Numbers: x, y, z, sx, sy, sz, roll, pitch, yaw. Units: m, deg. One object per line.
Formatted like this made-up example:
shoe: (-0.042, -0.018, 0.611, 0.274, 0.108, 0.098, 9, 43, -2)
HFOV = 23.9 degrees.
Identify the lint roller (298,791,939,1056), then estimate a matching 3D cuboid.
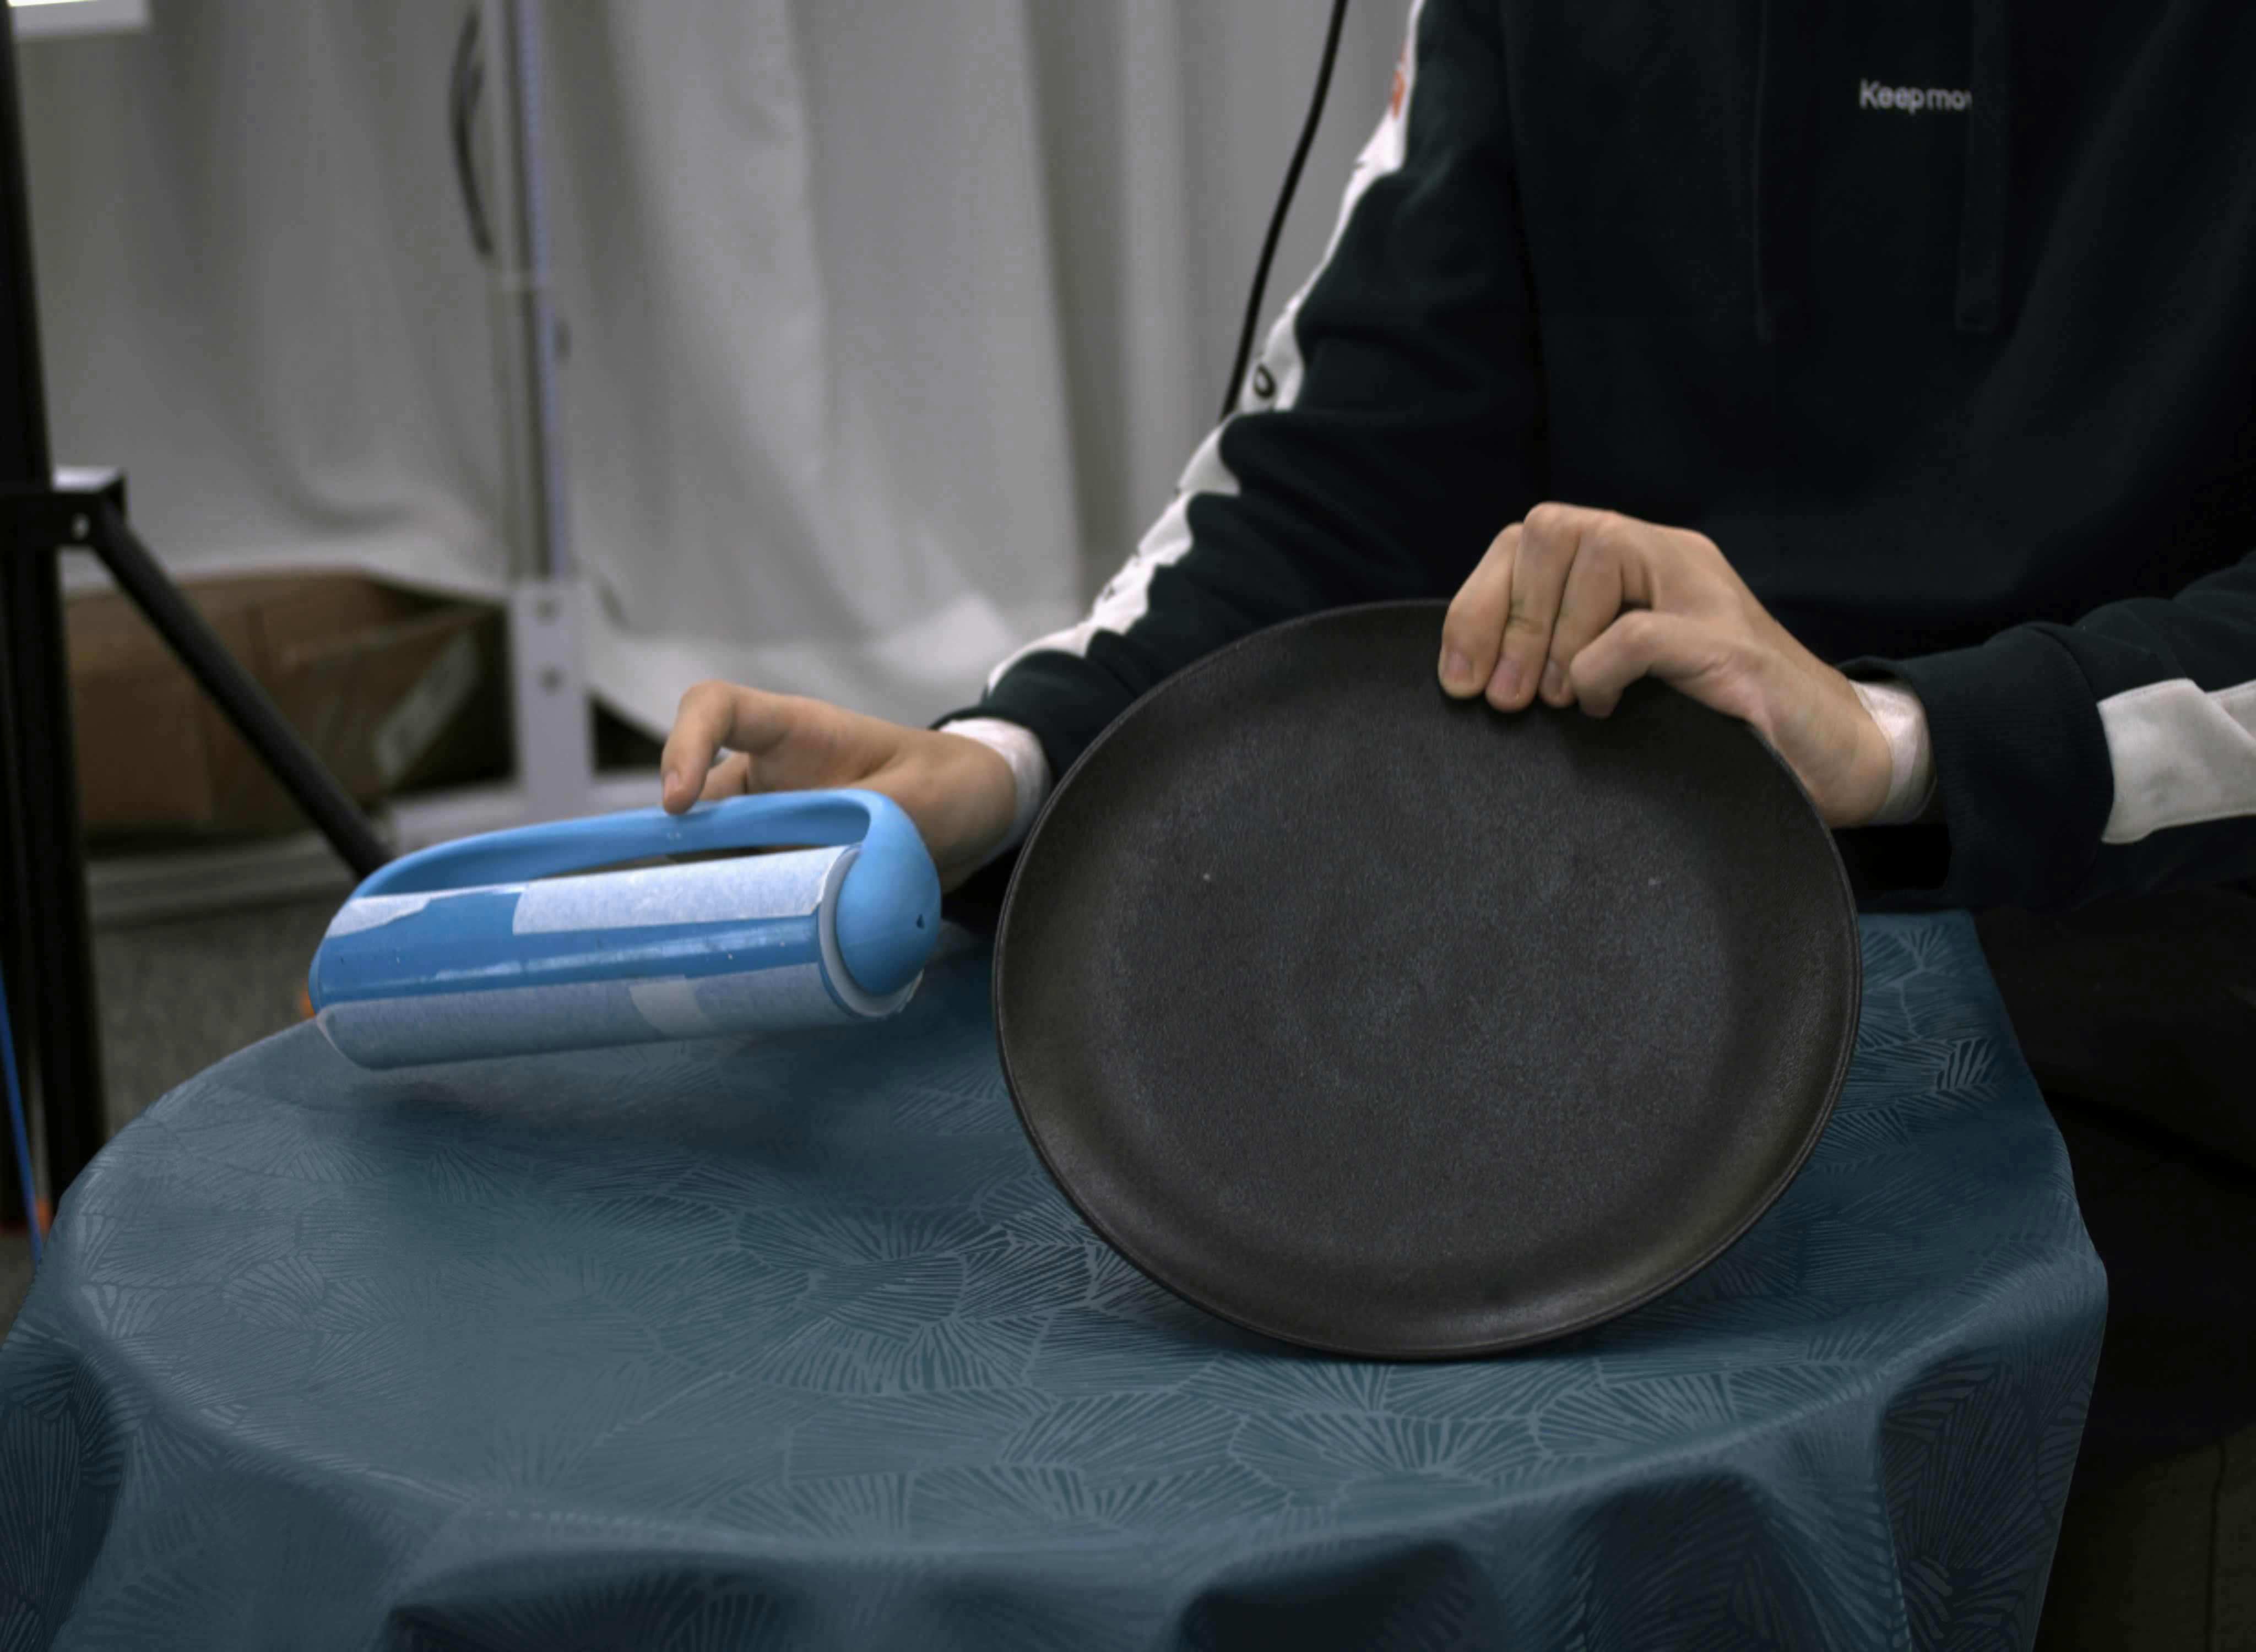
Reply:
lint roller: (-0.132, 0.023, 1.674, 0.232, 0.068, 0.177, -8, 9, 30)

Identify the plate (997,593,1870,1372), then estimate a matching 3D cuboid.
plate: (0.085, 0.043, 1.482, 0.244, 0.023, 0.247, -4, 59, 5)
